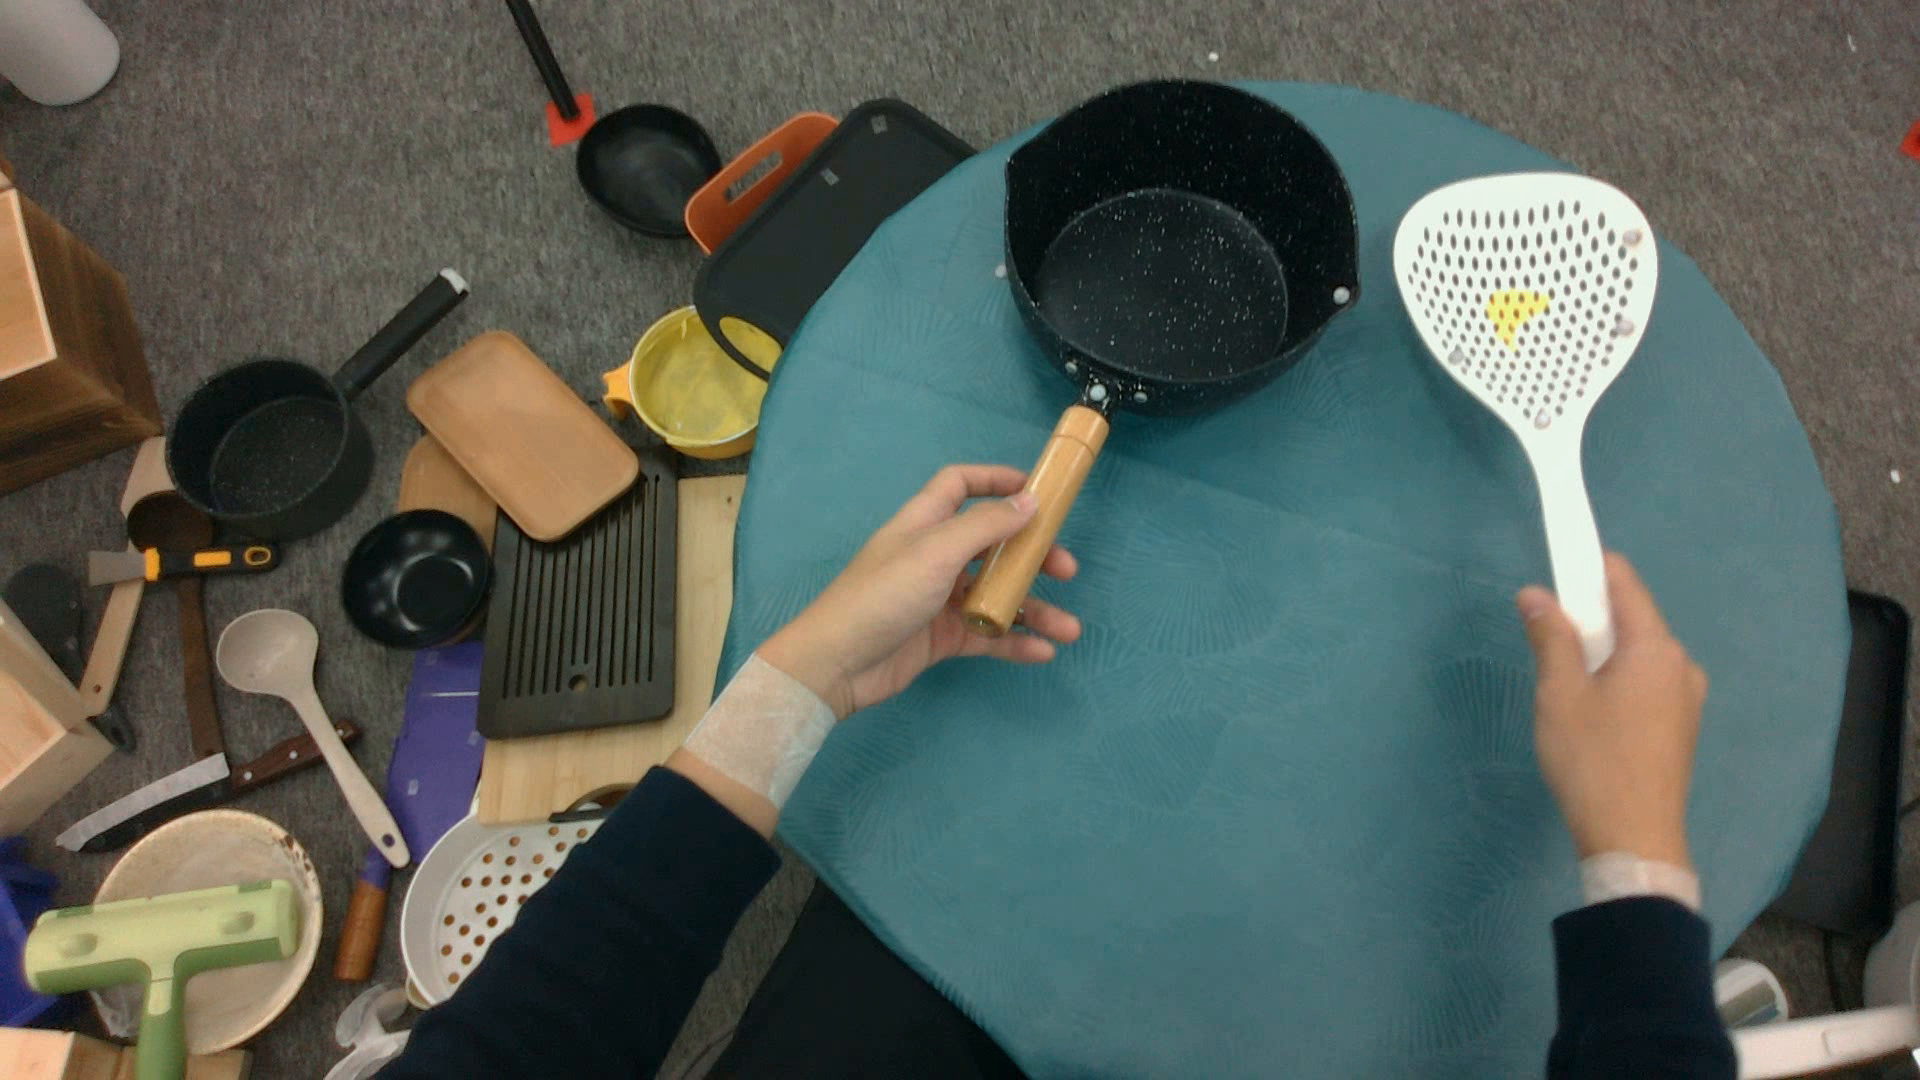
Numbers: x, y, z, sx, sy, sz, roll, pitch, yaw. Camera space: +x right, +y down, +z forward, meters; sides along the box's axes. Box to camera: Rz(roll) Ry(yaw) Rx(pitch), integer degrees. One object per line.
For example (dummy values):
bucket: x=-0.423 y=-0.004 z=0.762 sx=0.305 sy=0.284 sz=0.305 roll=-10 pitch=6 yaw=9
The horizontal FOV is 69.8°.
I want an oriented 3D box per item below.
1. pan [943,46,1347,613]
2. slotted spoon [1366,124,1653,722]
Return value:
pan: x=0.075 y=-0.101 z=0.724 sx=0.207 sy=0.108 sz=0.344 roll=23 pitch=72 yaw=7
slotted spoon: x=0.294 y=-0.076 z=0.699 sx=0.137 sy=0.050 sz=0.349 roll=-5 pitch=56 yaw=8
